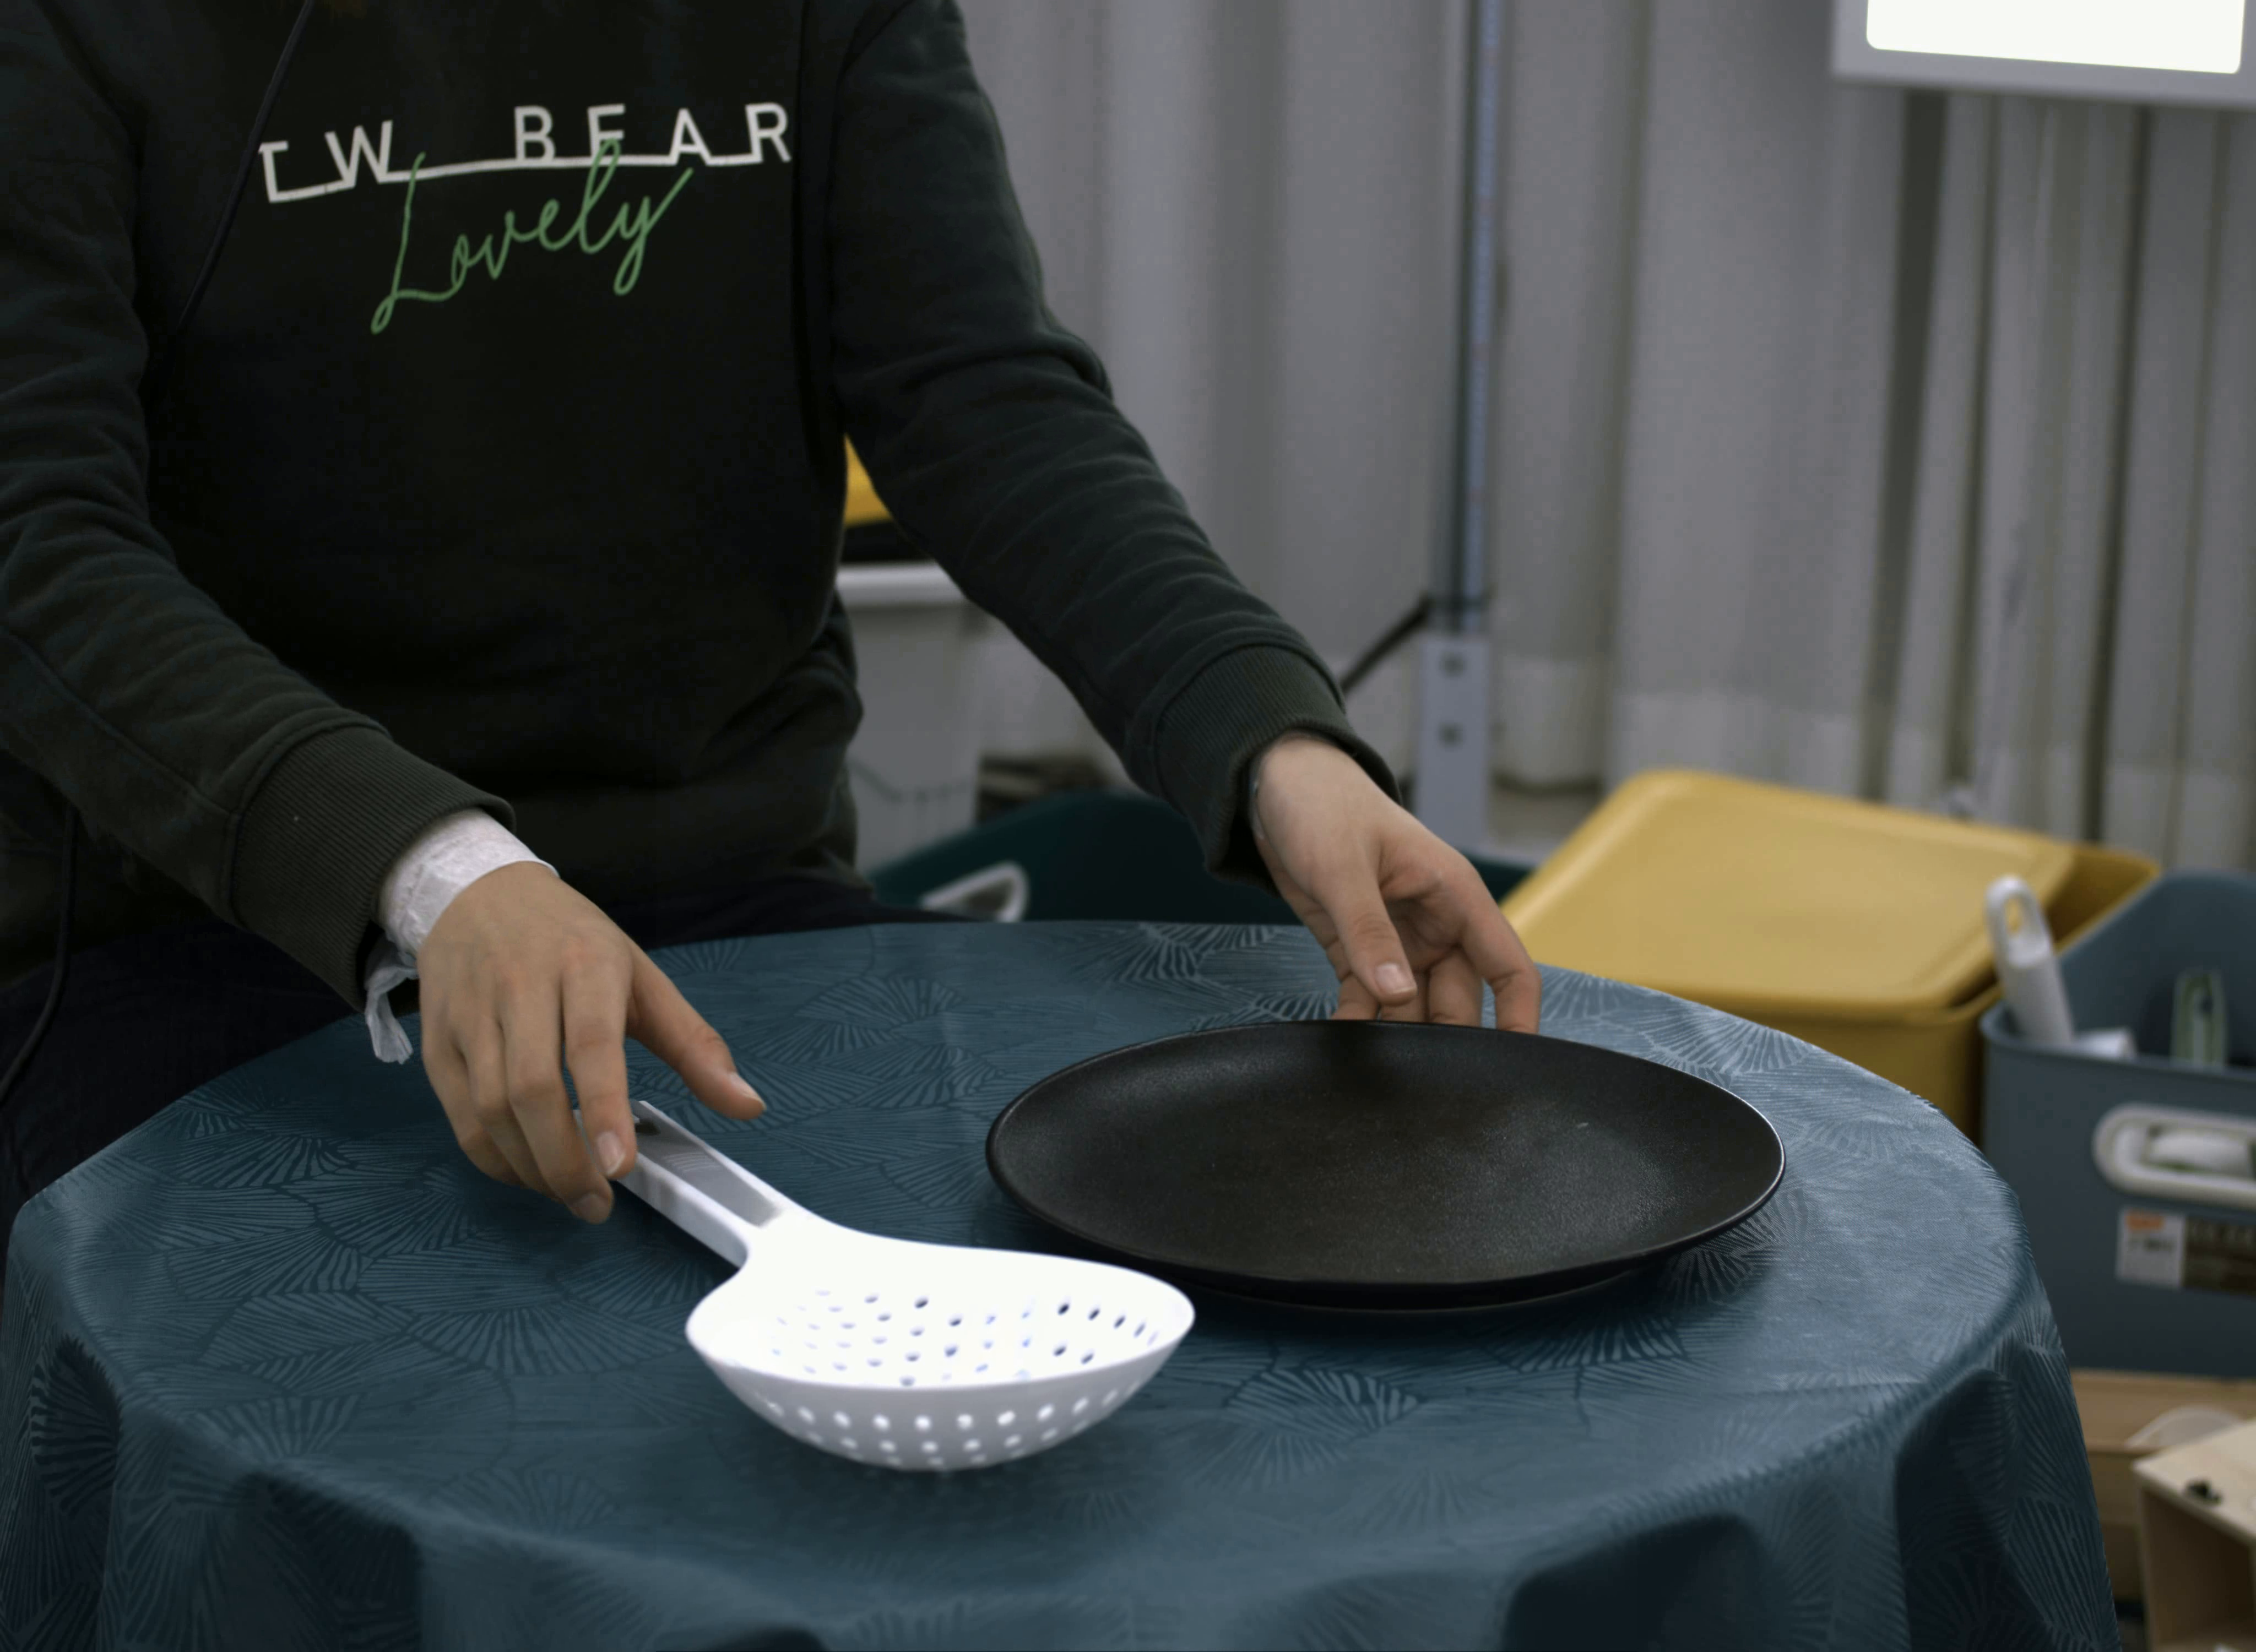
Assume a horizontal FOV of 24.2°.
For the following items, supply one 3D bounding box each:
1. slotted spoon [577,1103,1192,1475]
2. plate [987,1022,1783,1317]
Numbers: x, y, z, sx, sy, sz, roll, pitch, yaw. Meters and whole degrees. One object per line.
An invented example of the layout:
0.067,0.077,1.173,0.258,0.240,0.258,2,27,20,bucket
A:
-0.094,0.122,1.505,0.136,0.046,0.345,-4,16,-24,slotted spoon
0.078,0.106,1.609,0.243,0.023,0.243,1,16,0,plate
